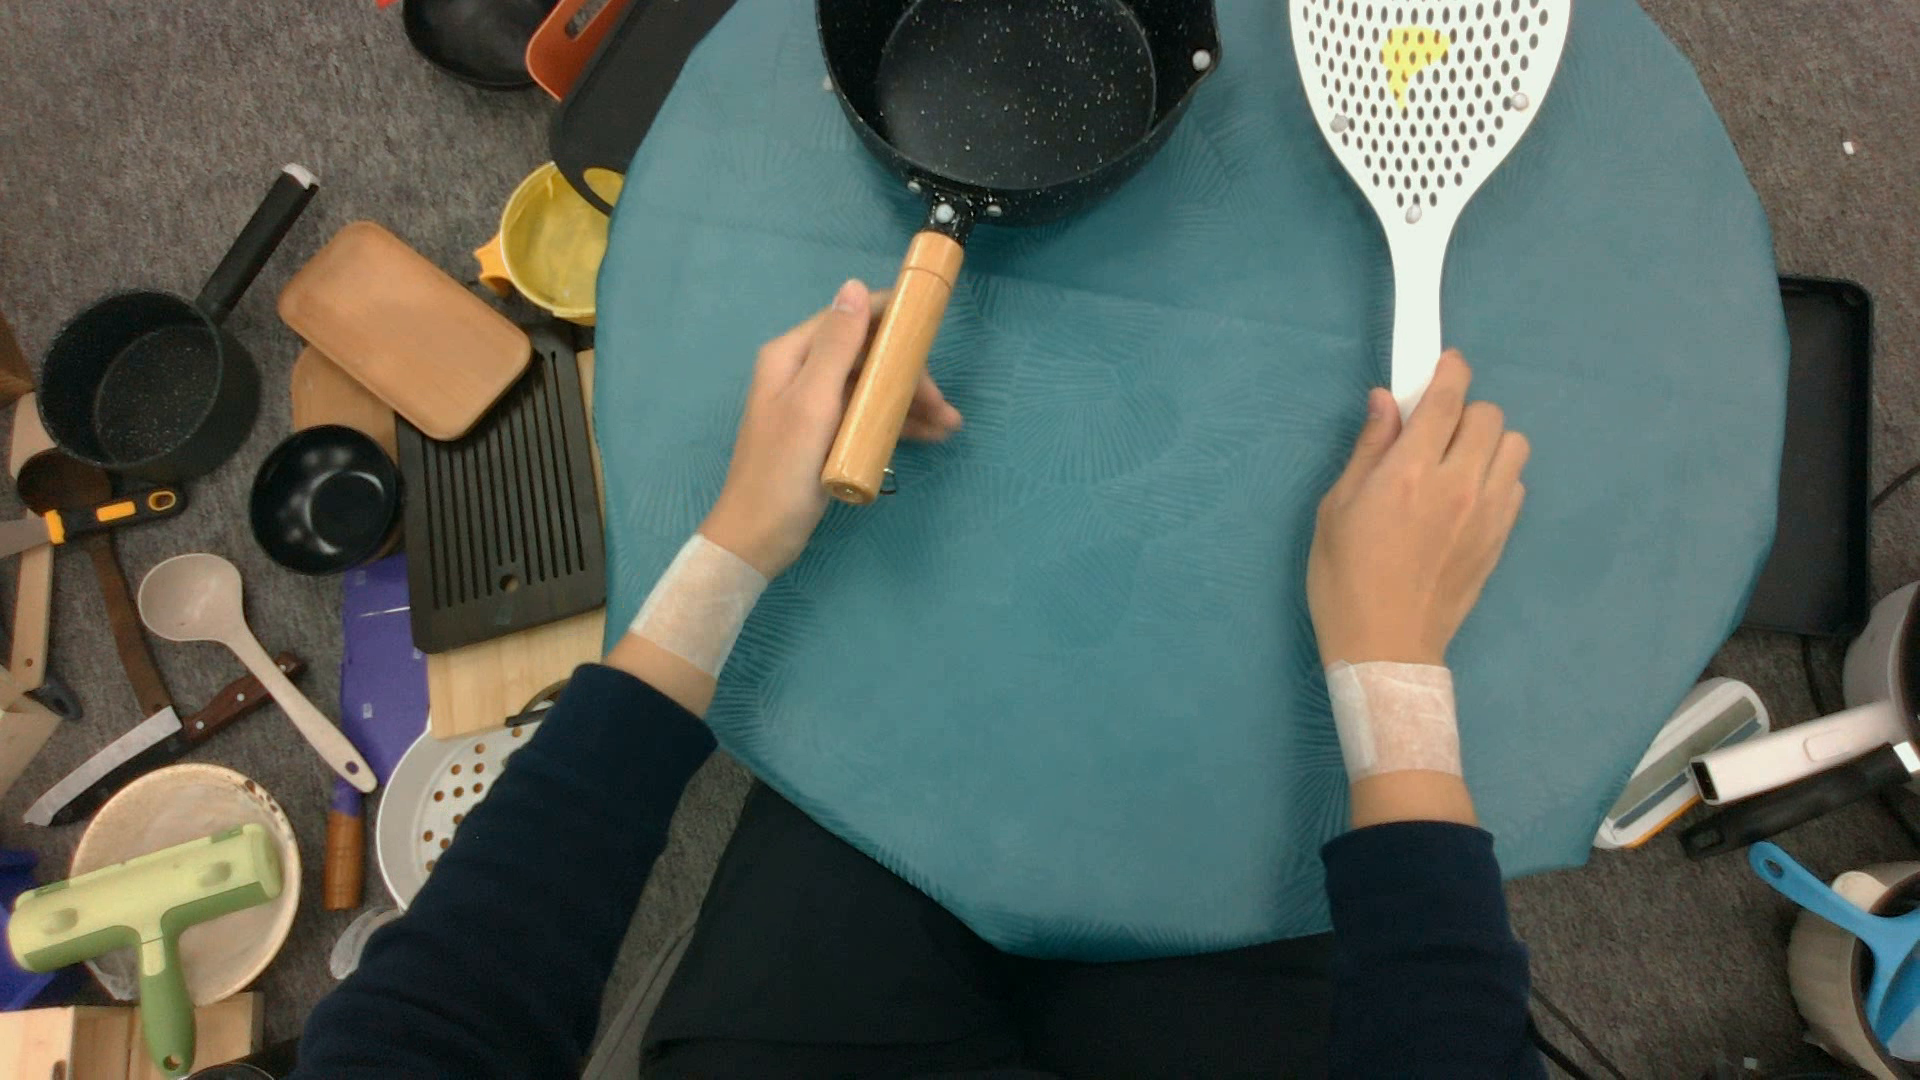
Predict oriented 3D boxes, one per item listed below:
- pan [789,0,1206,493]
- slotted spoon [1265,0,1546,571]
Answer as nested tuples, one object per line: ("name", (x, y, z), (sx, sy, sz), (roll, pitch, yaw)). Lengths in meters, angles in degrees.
("pan", (-0.003, -0.174, 0.659), (0.207, 0.108, 0.343), (15, 80, 4))
("slotted spoon", (0.218, -0.160, 0.680), (0.137, 0.050, 0.348), (1, 79, 6))
